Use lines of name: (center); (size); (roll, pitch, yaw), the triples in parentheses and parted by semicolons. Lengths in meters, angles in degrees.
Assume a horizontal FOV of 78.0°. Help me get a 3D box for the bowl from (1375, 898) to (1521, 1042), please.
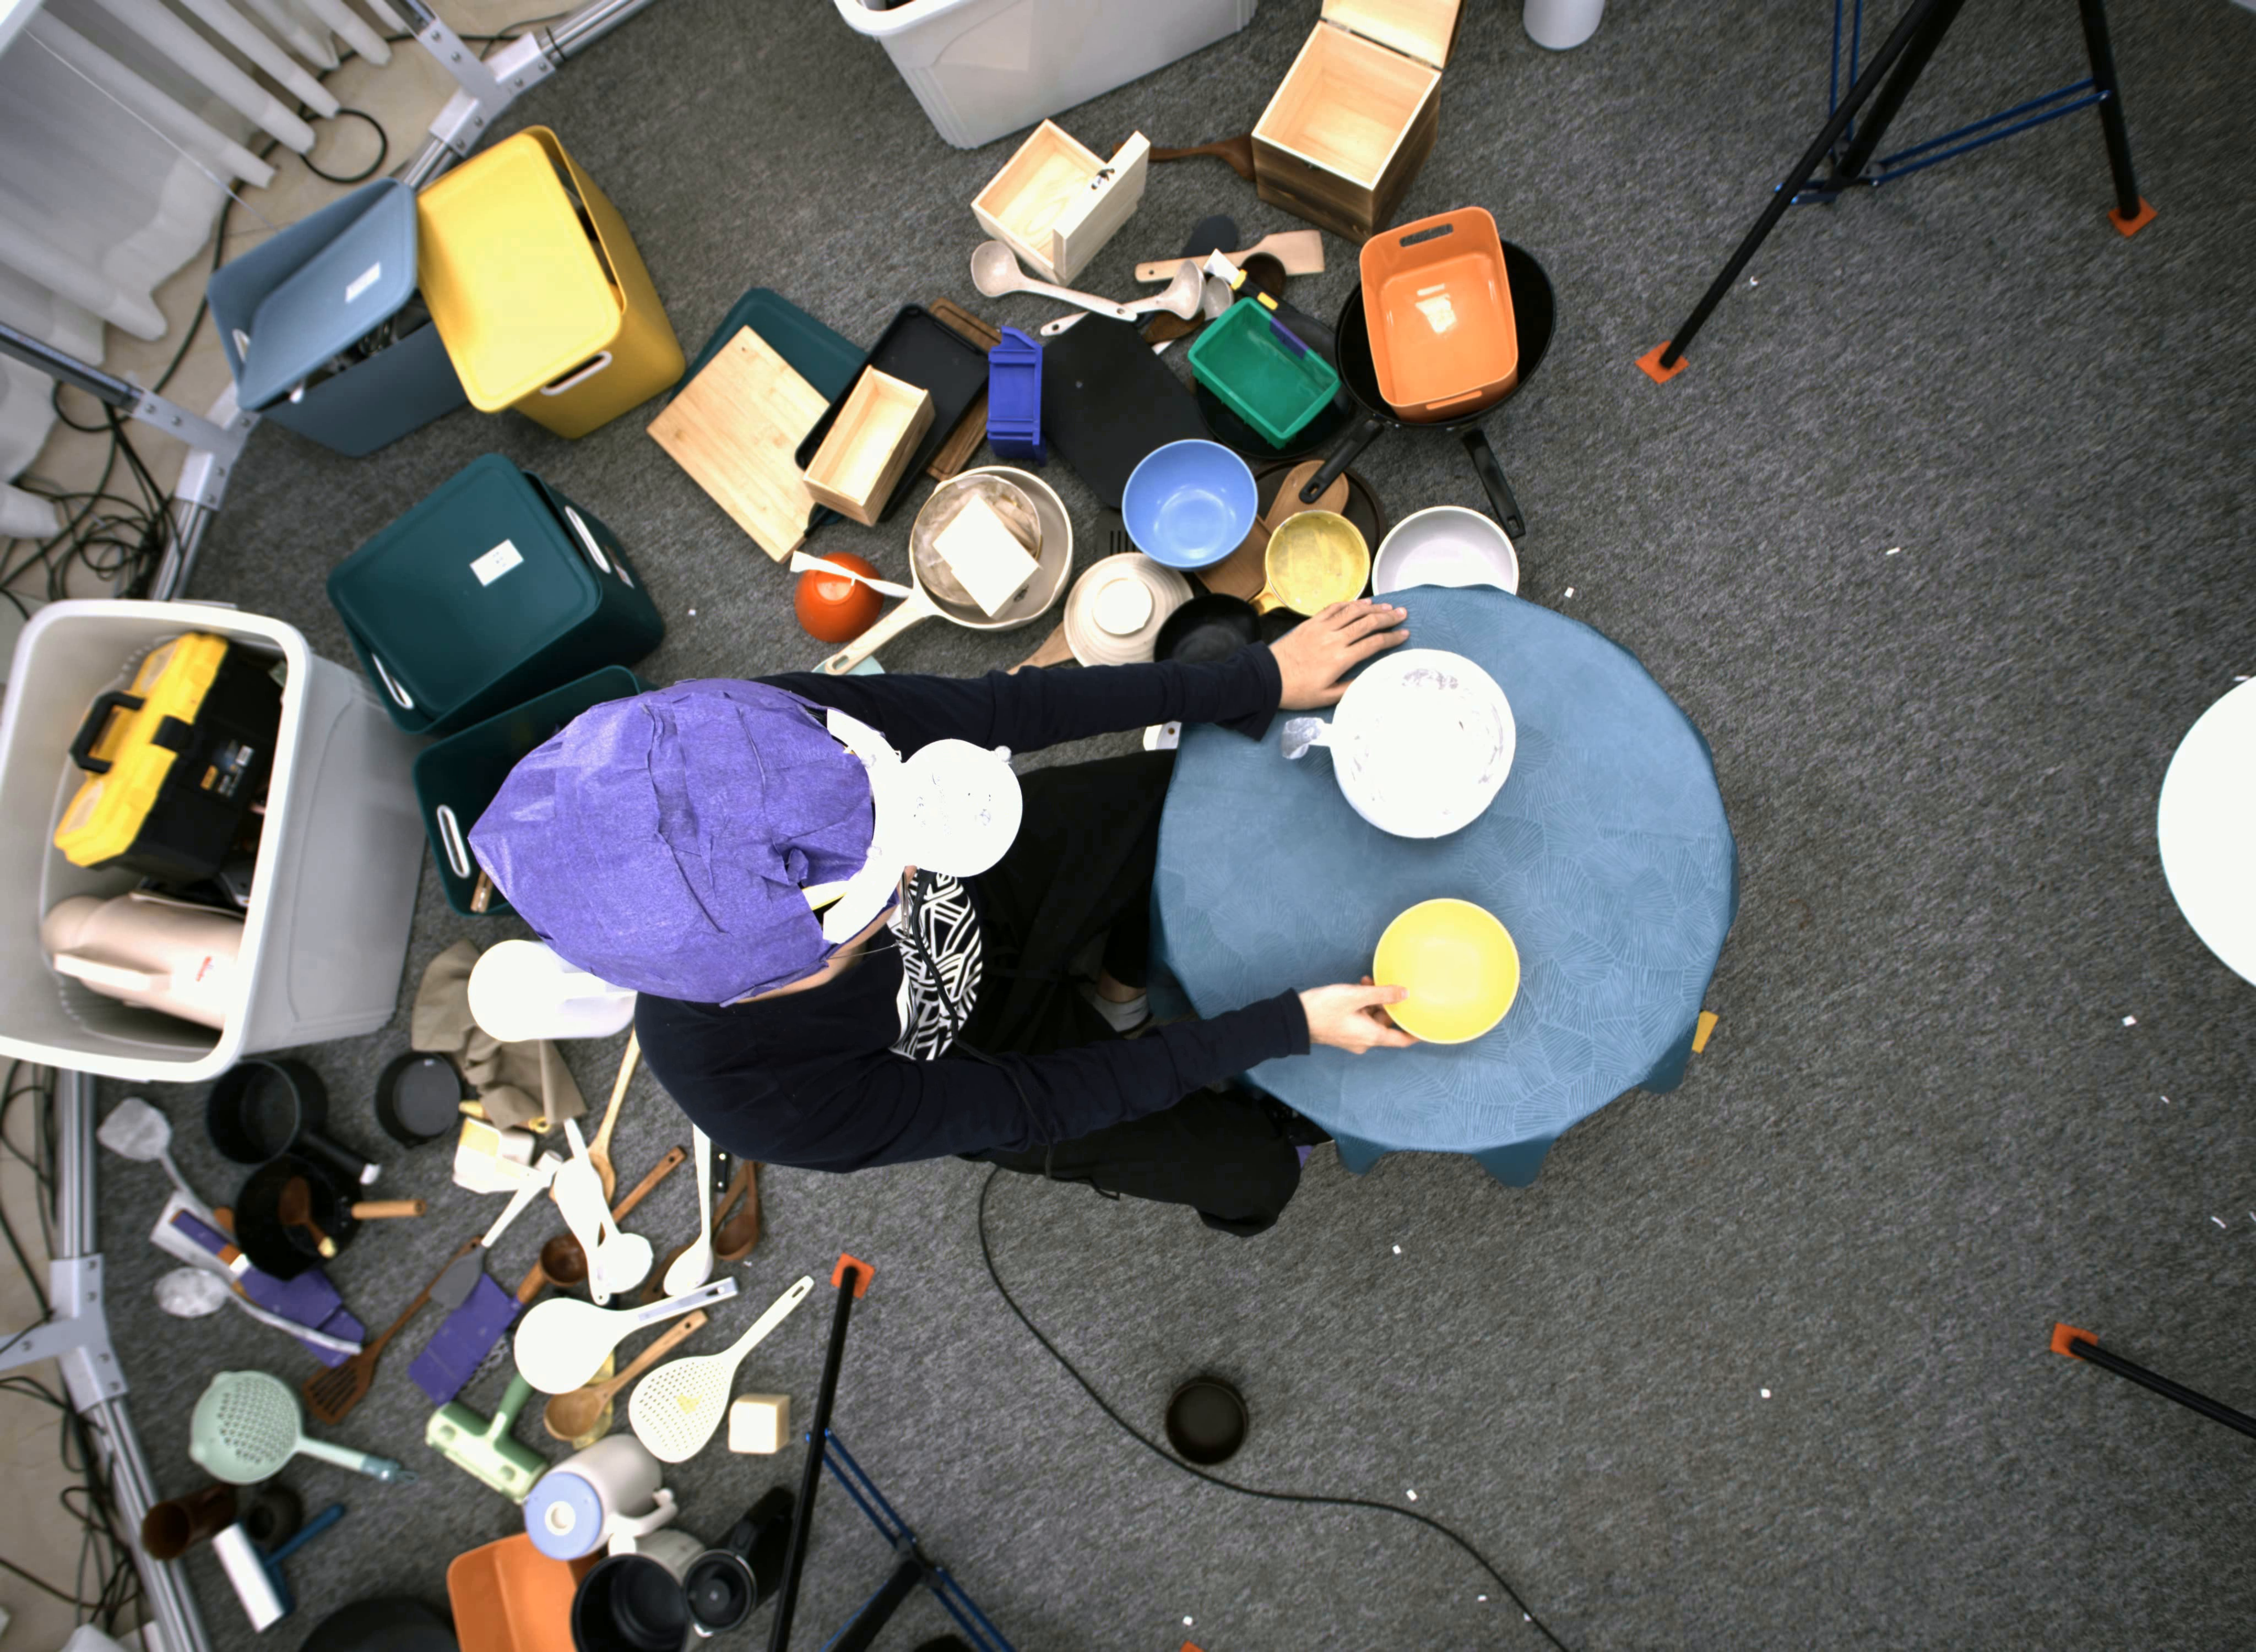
bowl: (0.326, 0.145, 1.414); (0.146, 0.060, 0.145); (-1, 88, 12)

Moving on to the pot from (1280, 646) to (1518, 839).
pot: (0.270, -0.083, 1.398); (0.234, 0.137, 0.177); (5, 84, 10)
